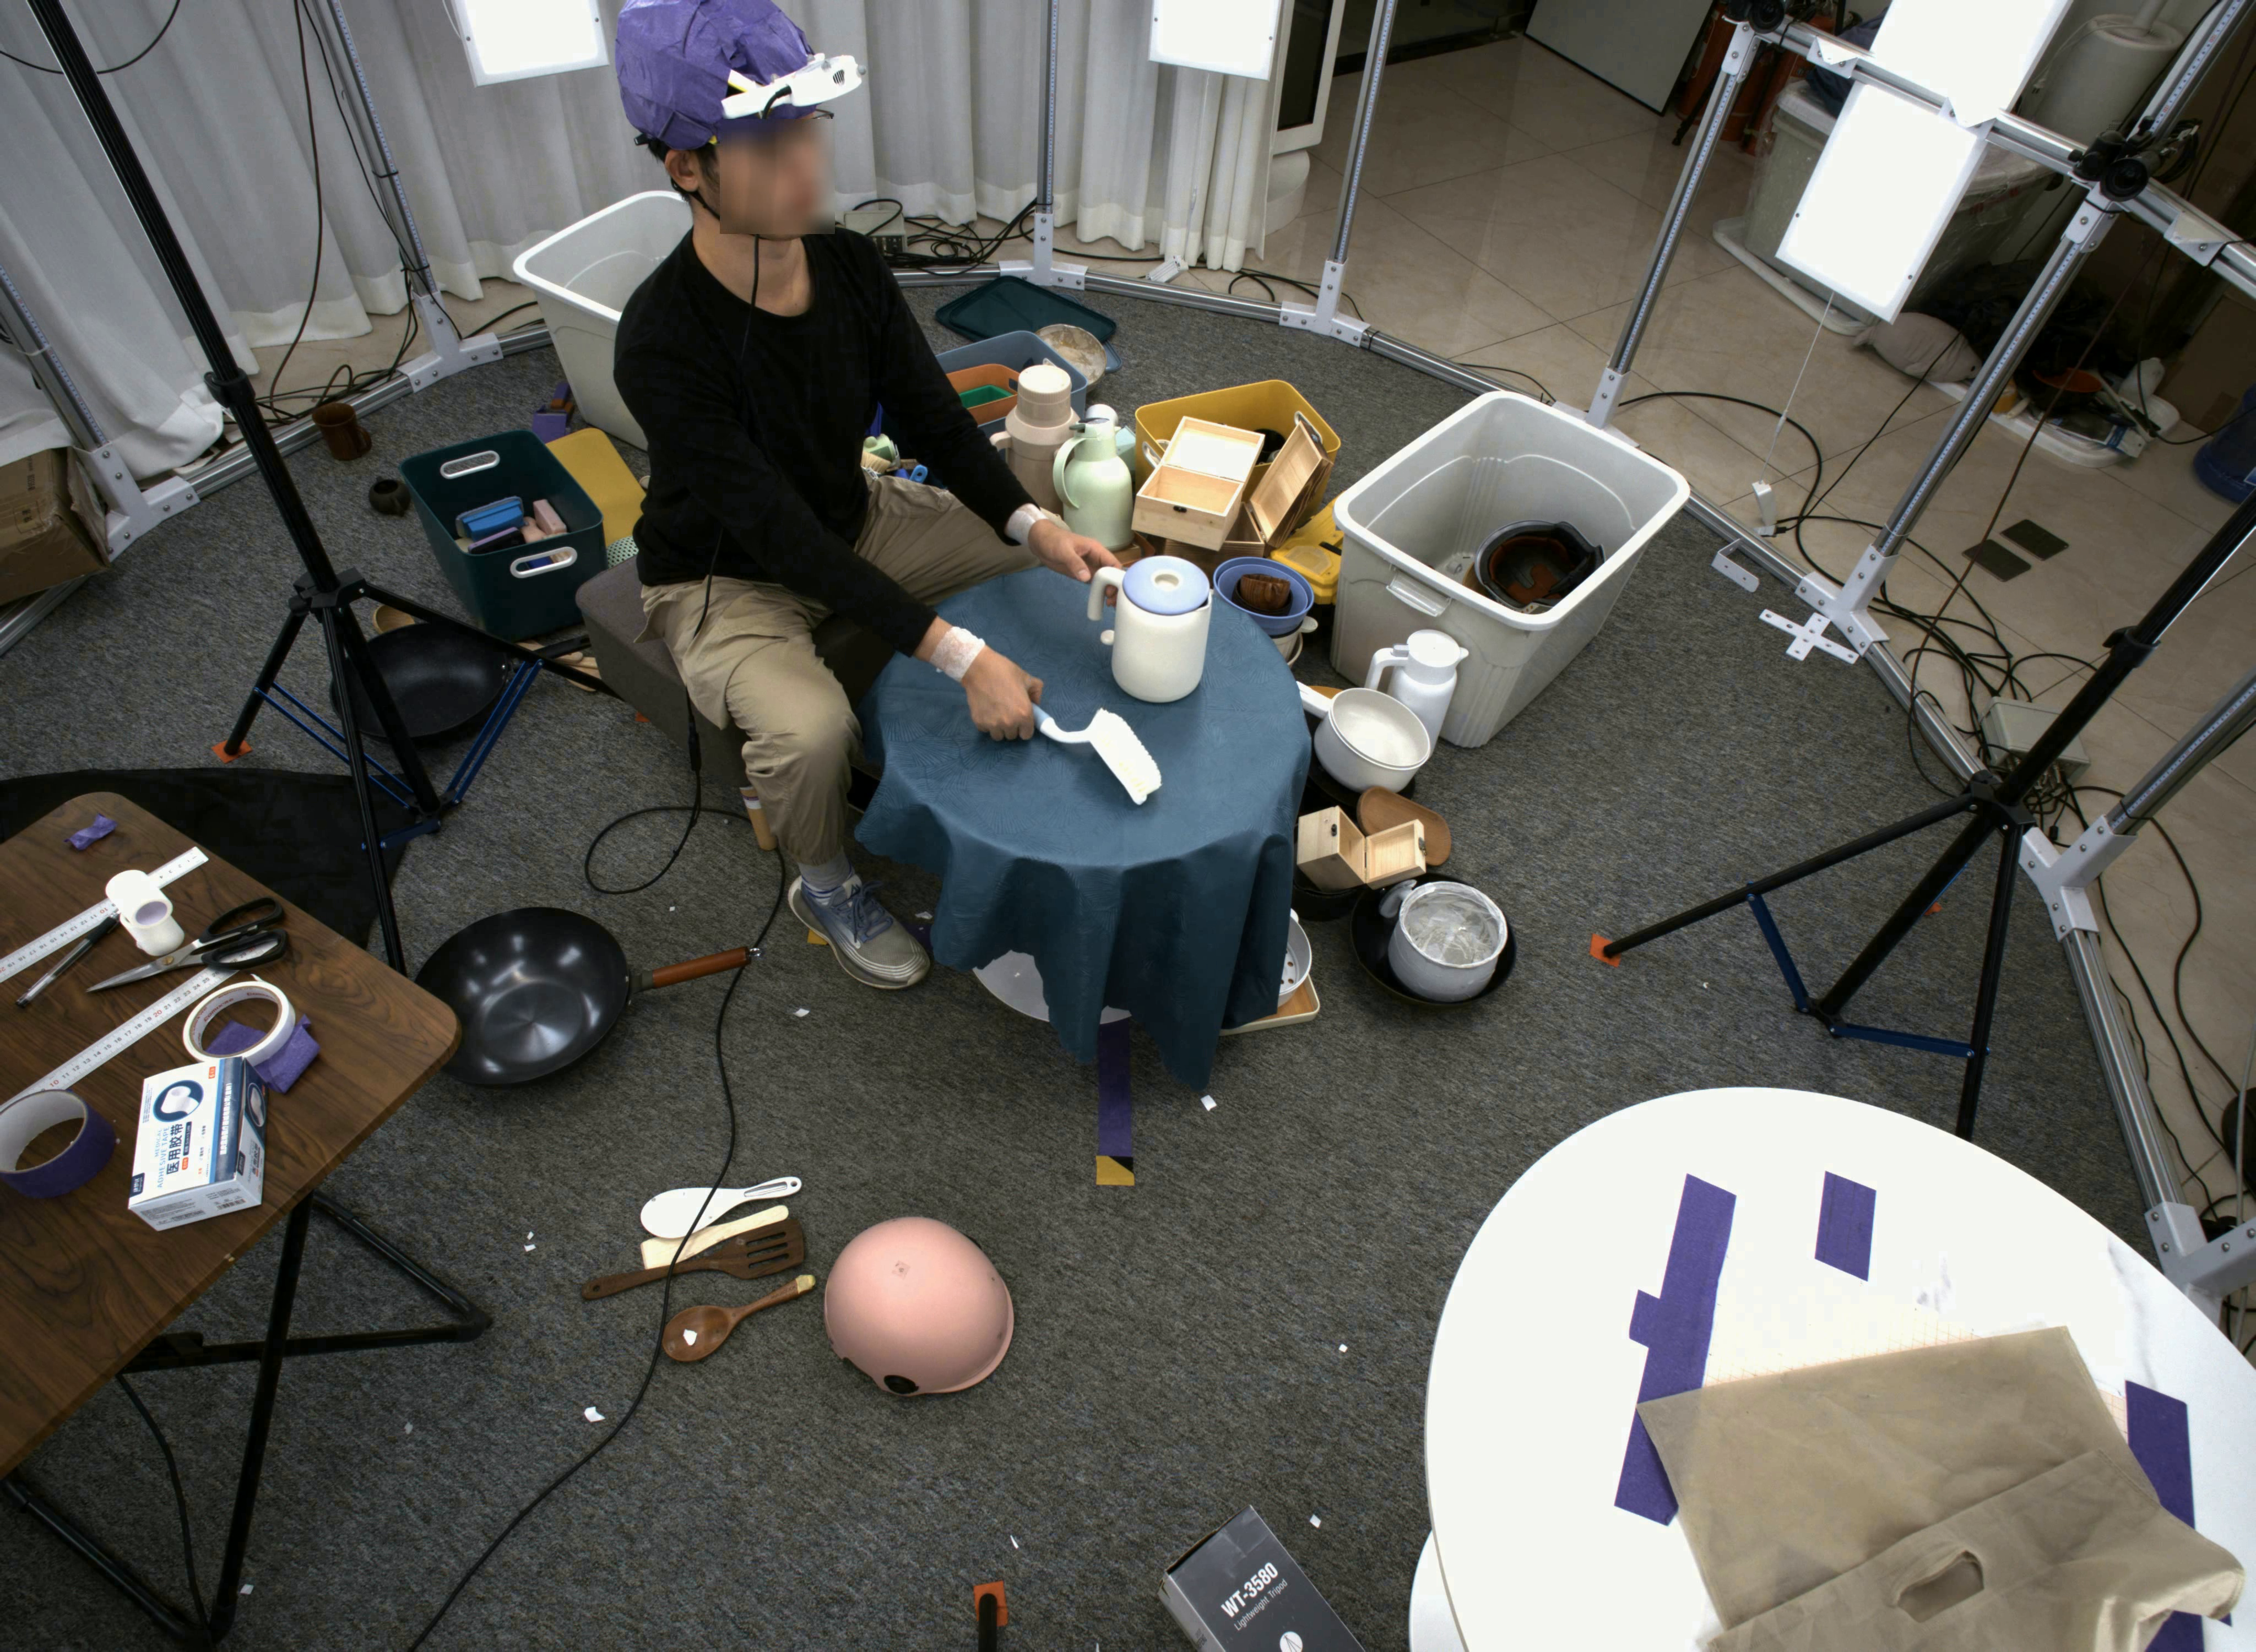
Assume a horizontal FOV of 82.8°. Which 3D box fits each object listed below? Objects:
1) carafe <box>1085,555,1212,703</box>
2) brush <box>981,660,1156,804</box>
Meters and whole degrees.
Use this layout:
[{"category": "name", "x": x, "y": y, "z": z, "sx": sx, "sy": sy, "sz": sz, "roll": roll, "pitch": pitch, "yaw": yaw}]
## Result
[{"category": "carafe", "x": 0.025, "y": -0.286, "z": 1.809, "sx": 0.192, "sy": 0.178, "sz": 0.134, "roll": 25, "pitch": 52, "yaw": 18}, {"category": "brush", "x": -0.077, "y": -0.156, "z": 1.744, "sx": 0.085, "sy": 0.081, "sz": 0.330, "roll": -36, "pitch": 62, "yaw": -24}]
